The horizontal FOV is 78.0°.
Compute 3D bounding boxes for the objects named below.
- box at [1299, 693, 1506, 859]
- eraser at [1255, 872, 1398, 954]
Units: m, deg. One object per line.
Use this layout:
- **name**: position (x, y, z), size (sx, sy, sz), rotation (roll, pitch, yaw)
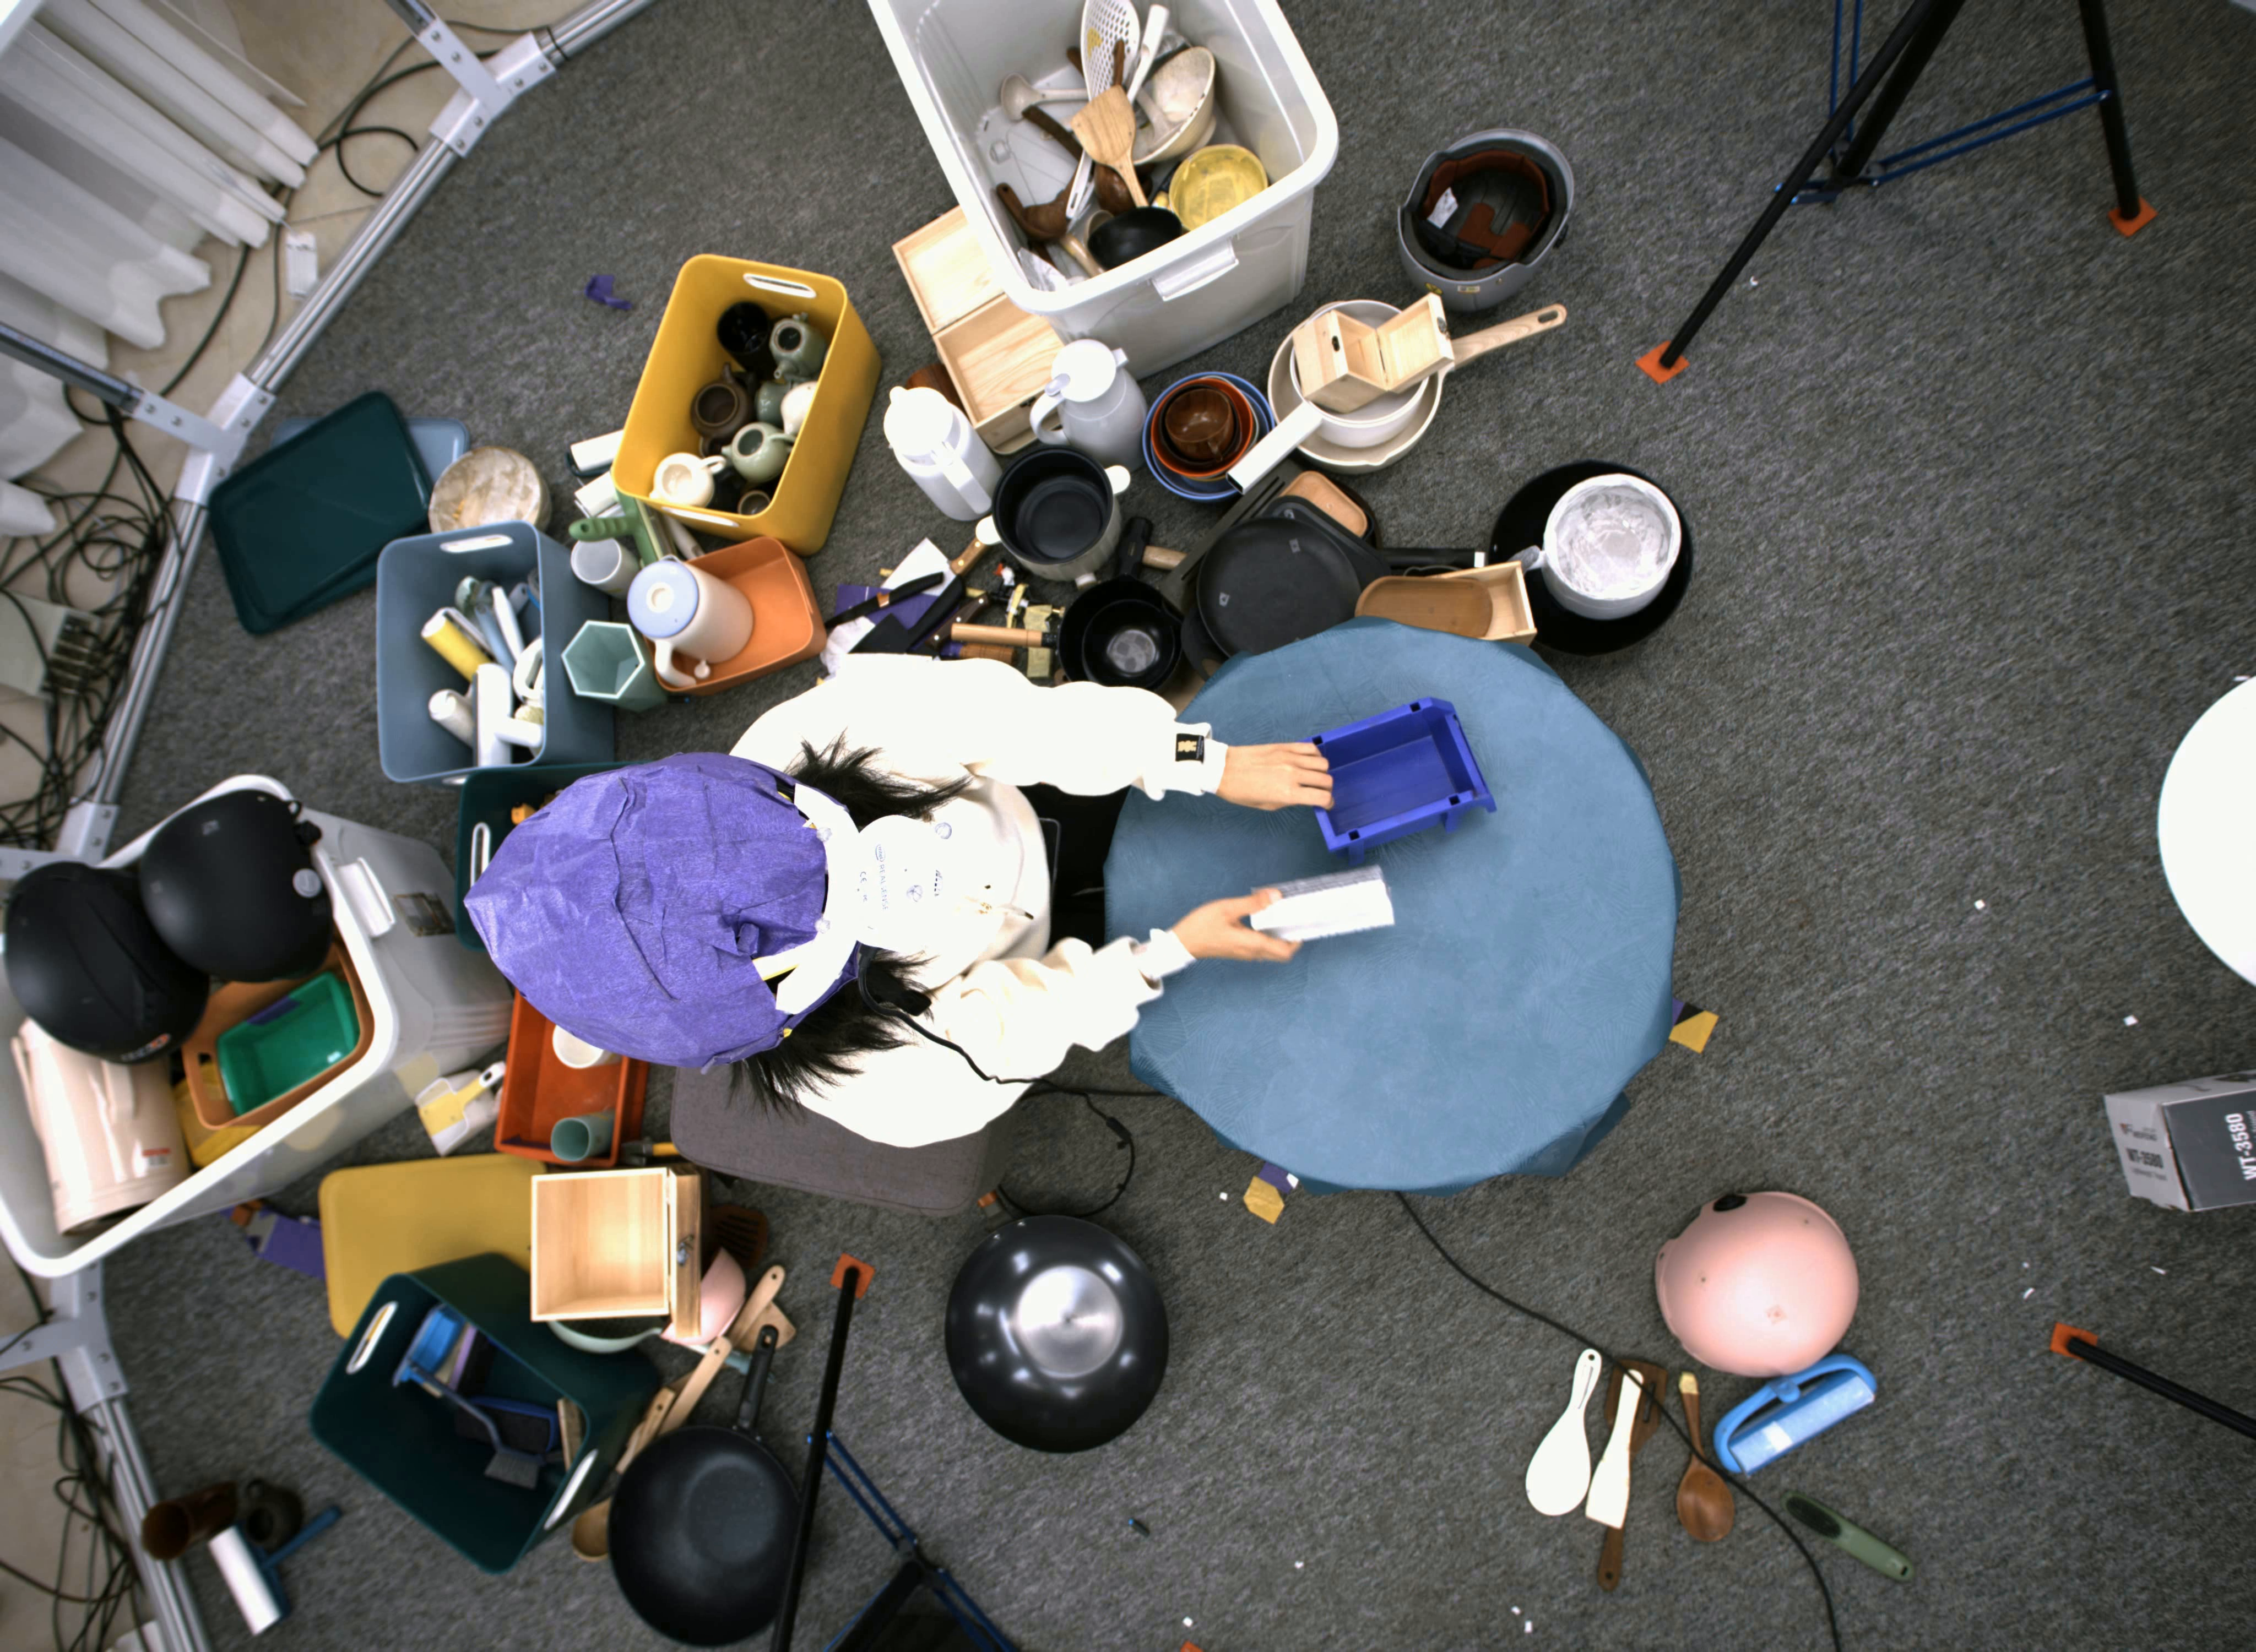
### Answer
- **box**: position (0.280, -0.055, 1.404), size (0.180, 0.083, 0.122), rotation (-19, 71, 7)
- **eraser**: position (0.197, 0.086, 1.383), size (0.135, 0.050, 0.045), rotation (-14, 56, 18)
